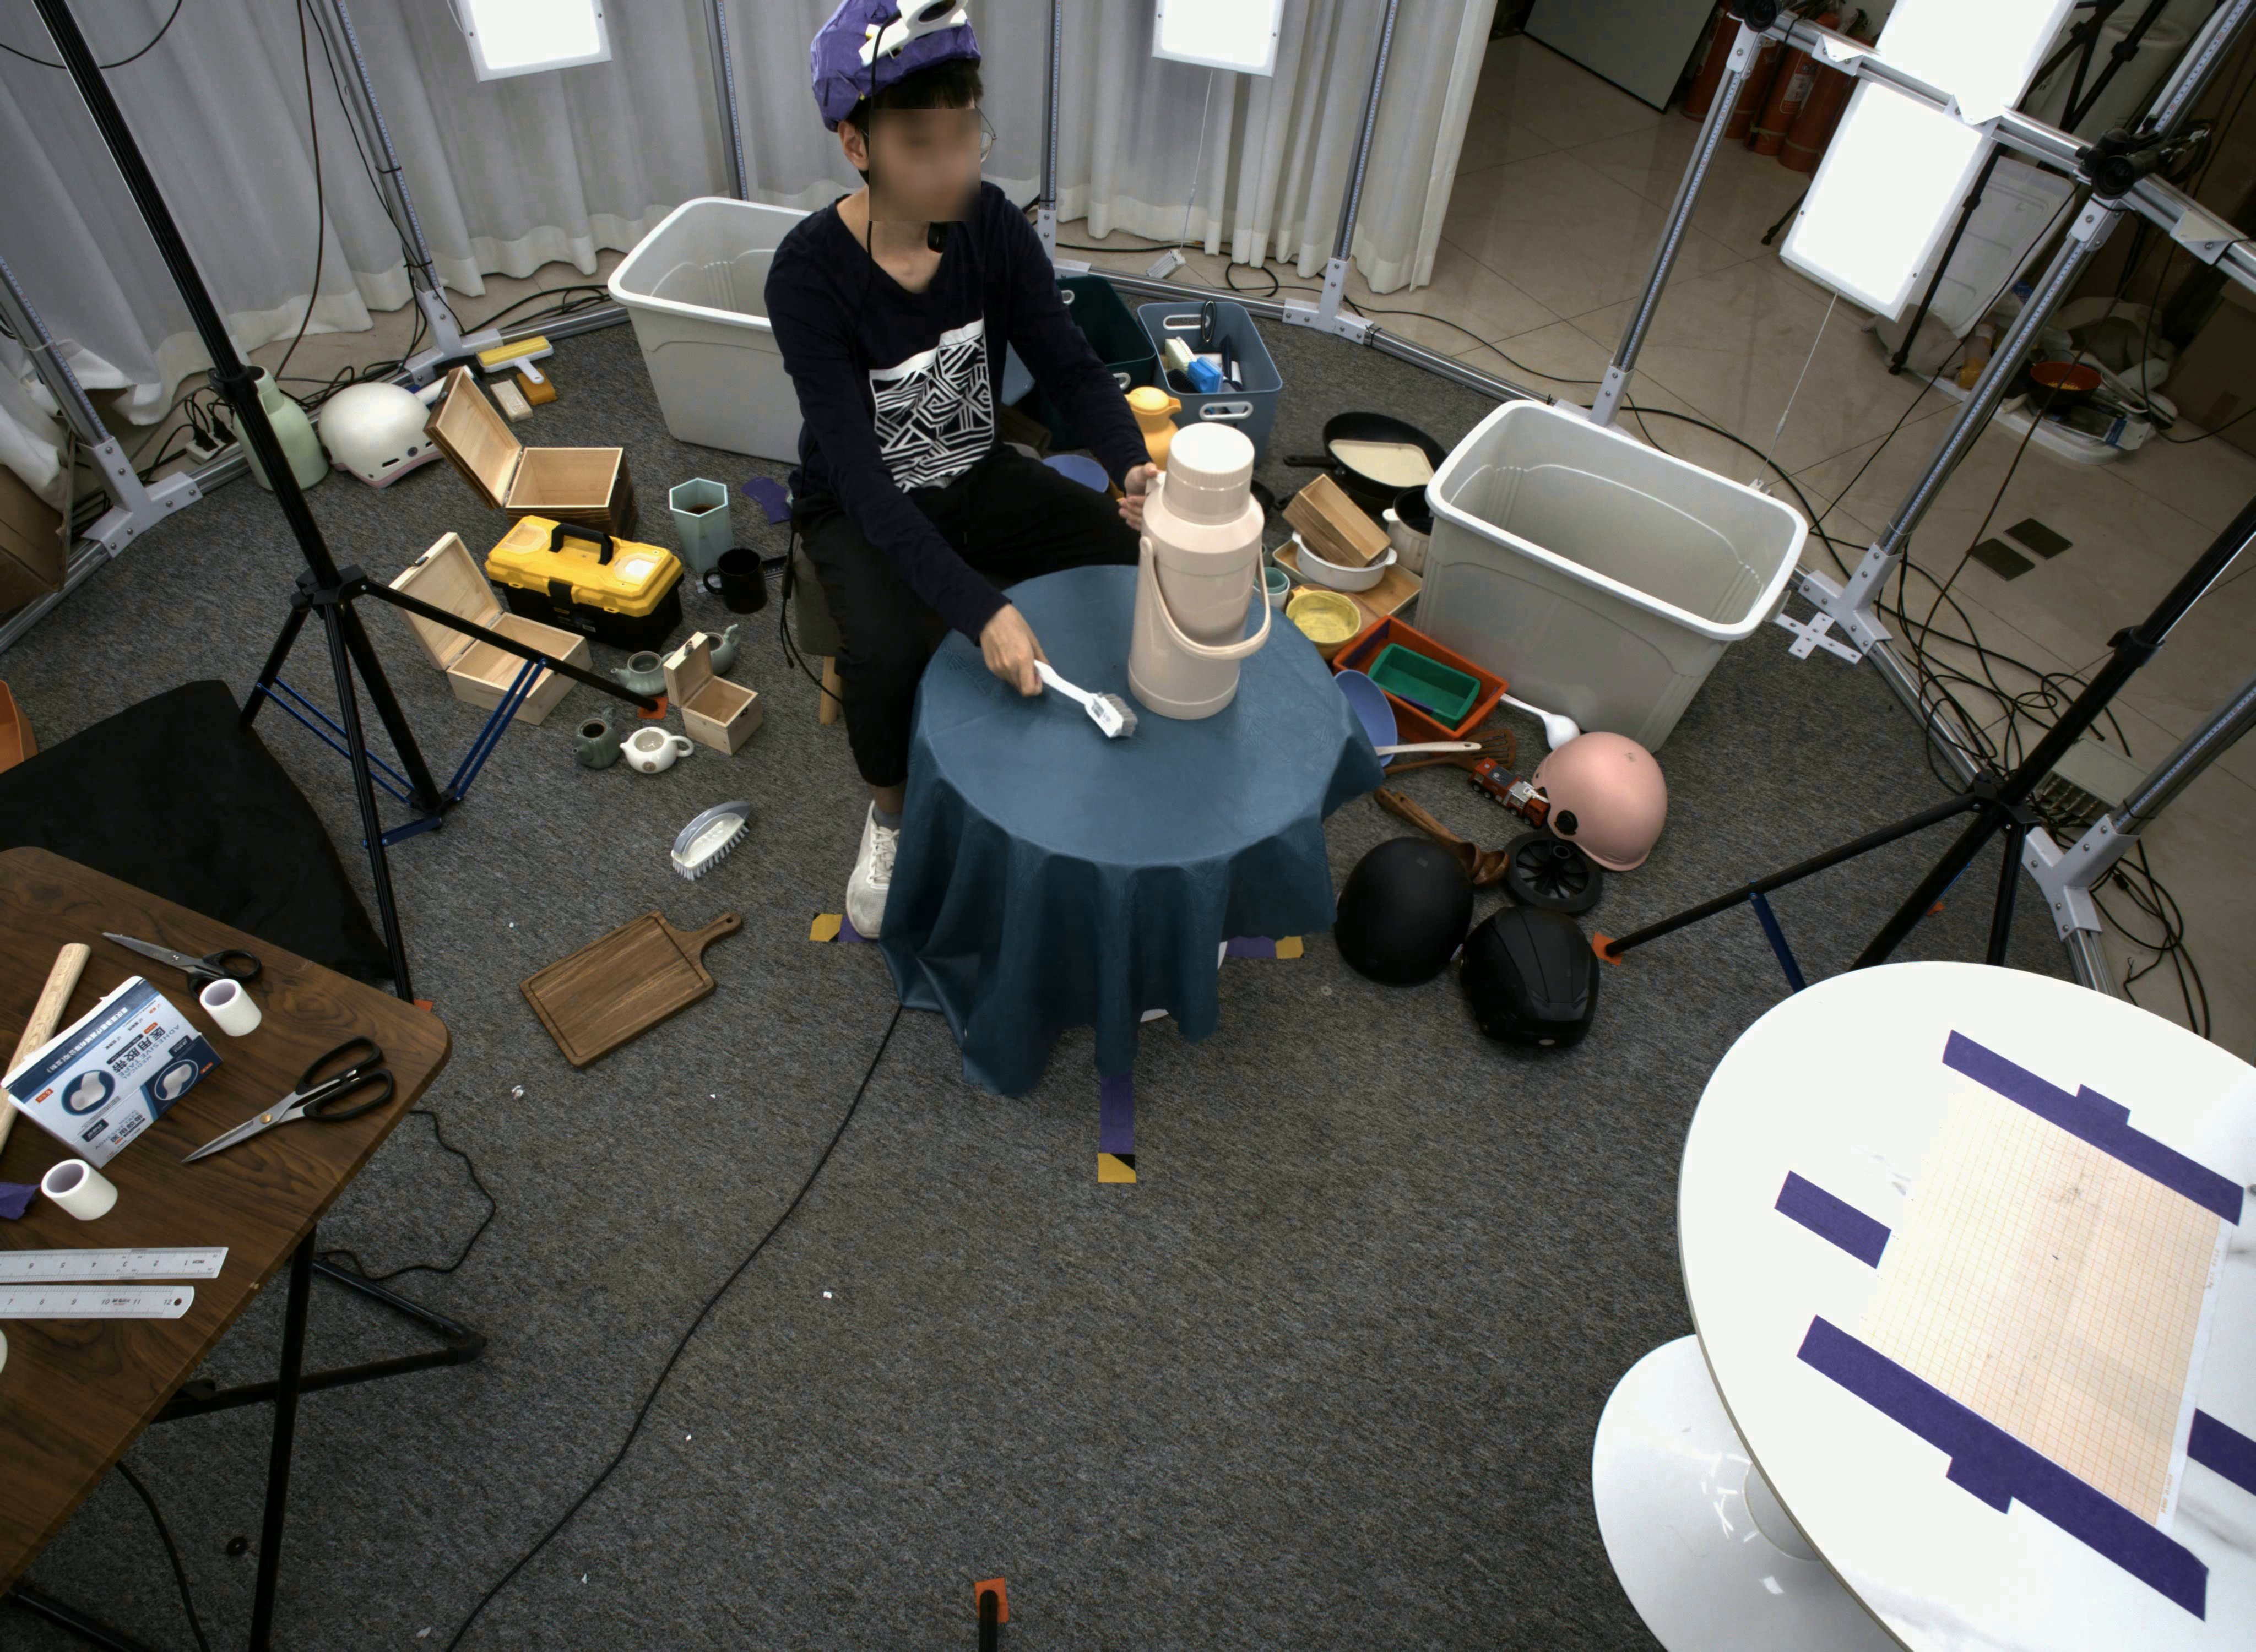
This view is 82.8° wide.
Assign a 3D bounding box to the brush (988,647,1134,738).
[{"bbox_3d":[-0.092,-0.197,1.795,0.246,0.033,0.051,33,54,23],"label":"brush"}]

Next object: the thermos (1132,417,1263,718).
[{"bbox_3d":[0.085,-0.347,1.719,0.176,0.396,0.211,-25,55,-21],"label":"thermos"}]
